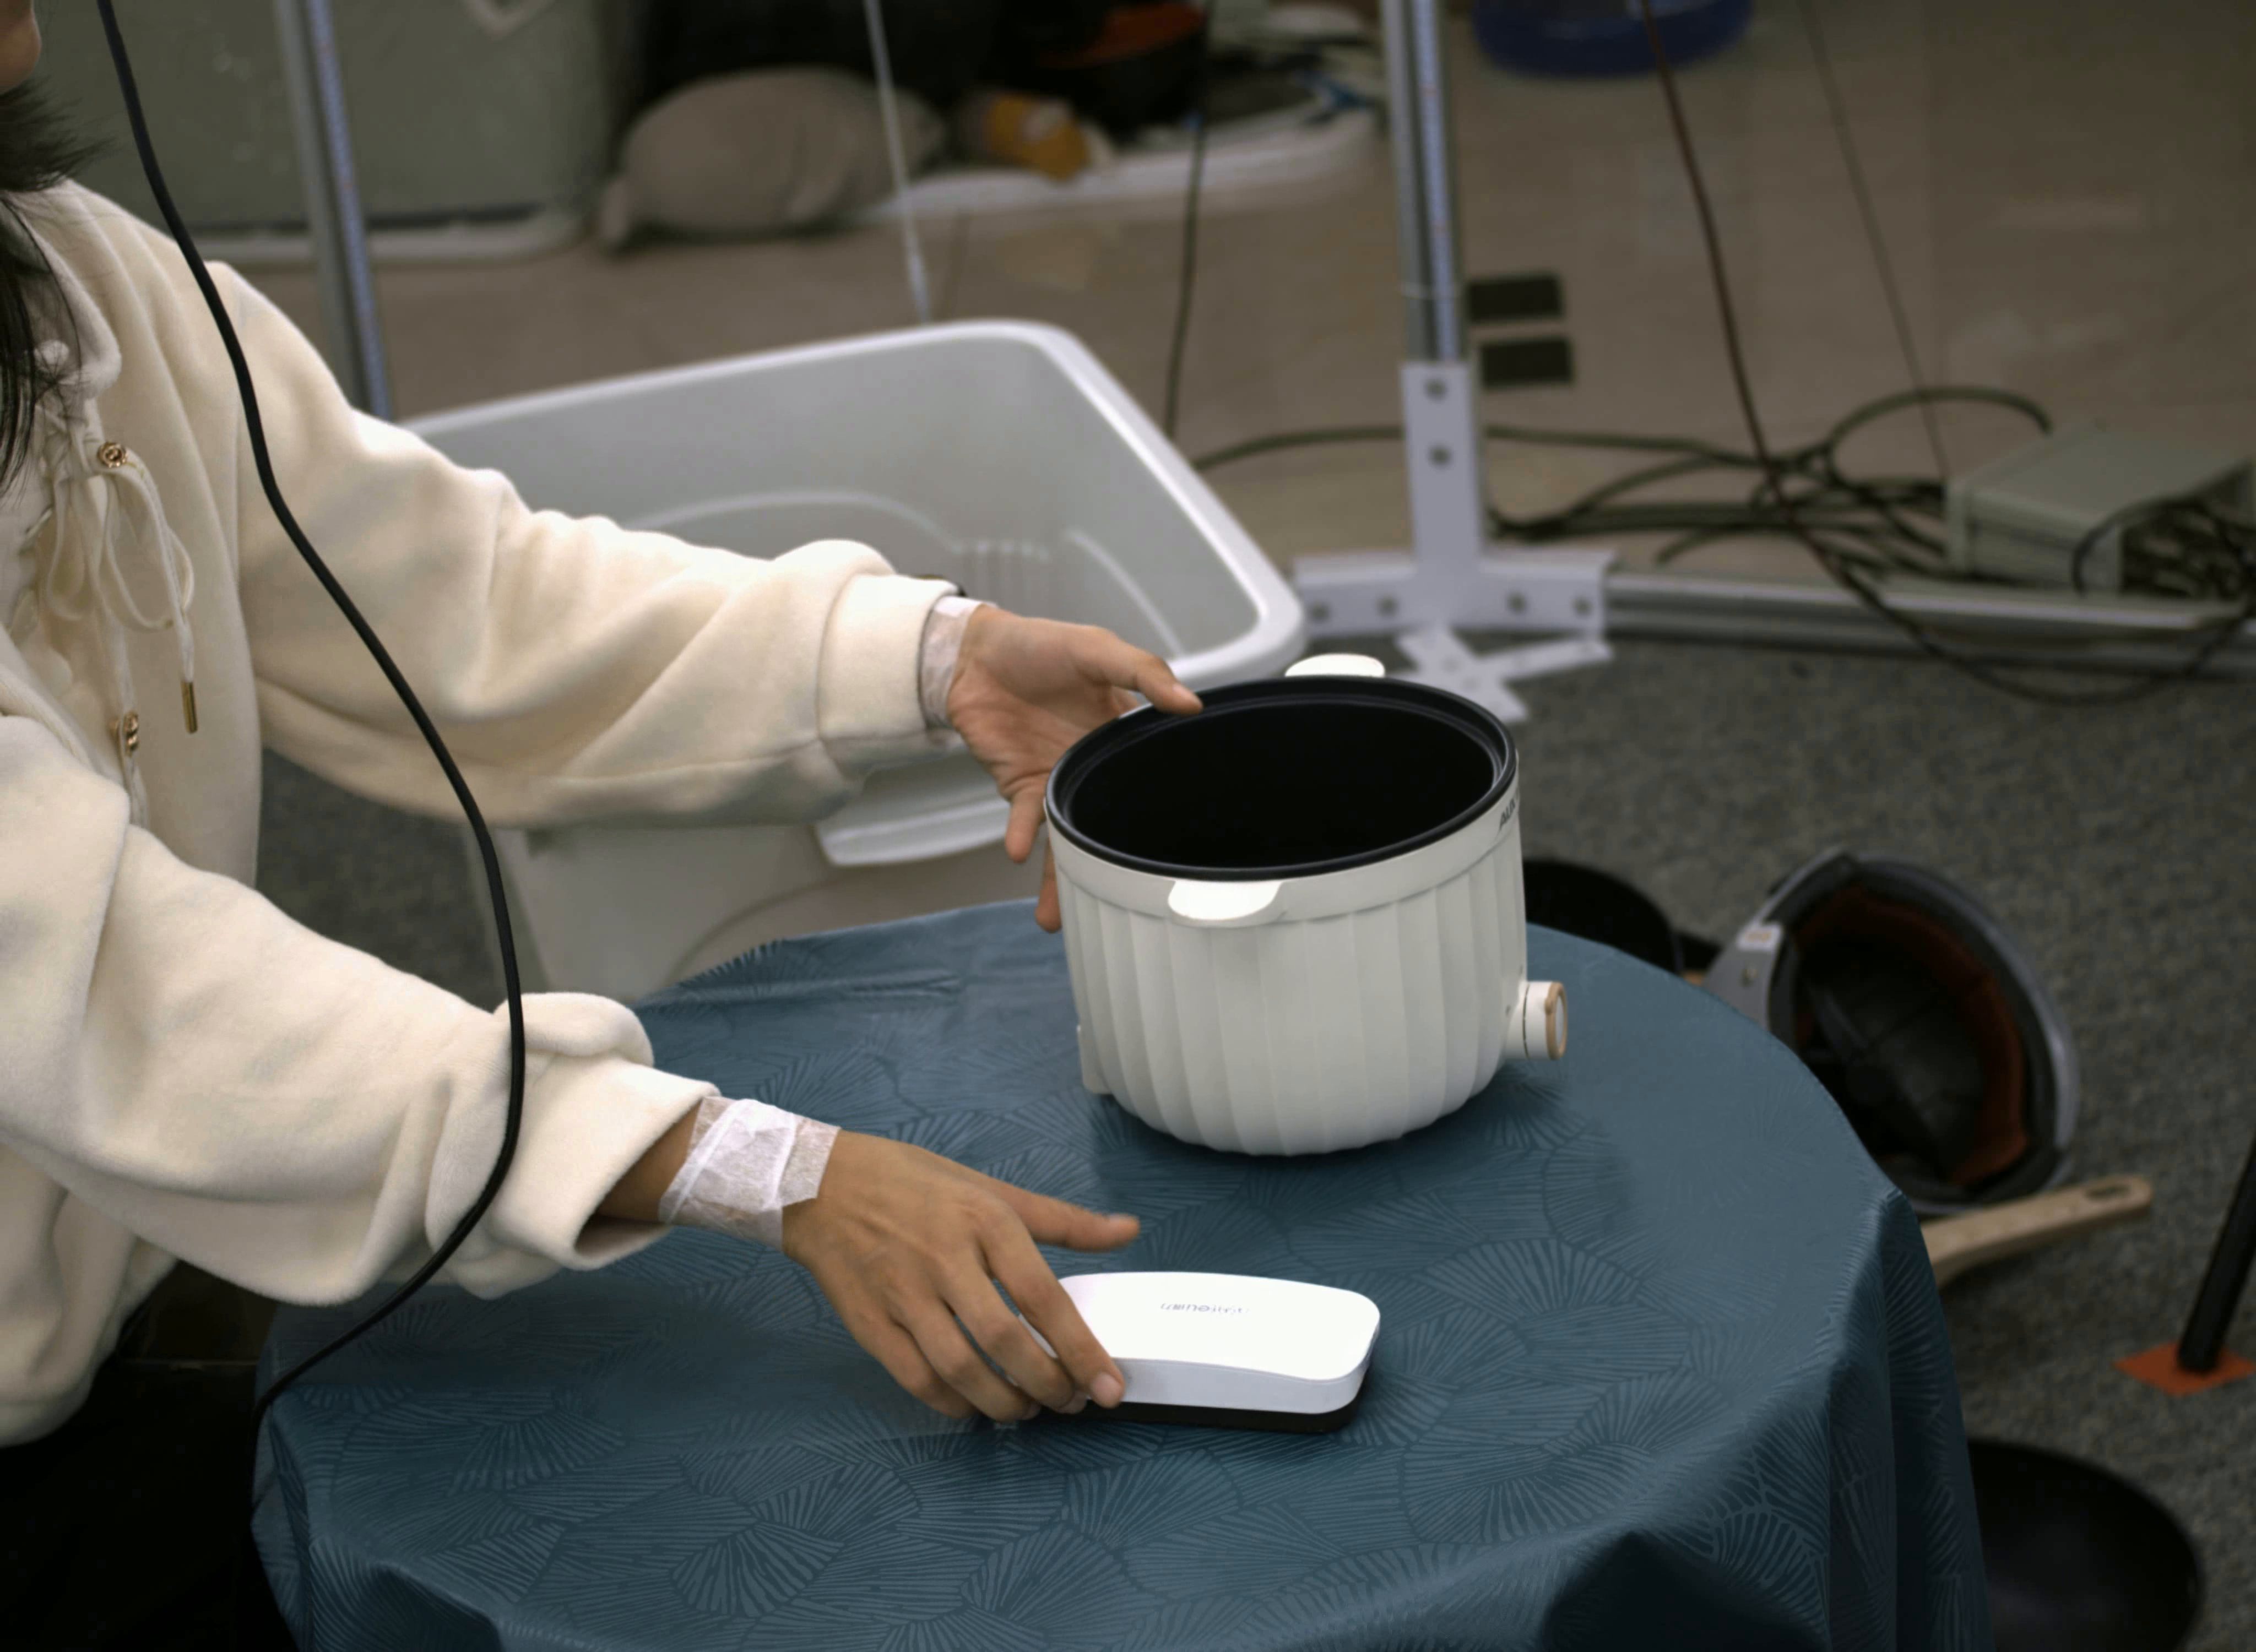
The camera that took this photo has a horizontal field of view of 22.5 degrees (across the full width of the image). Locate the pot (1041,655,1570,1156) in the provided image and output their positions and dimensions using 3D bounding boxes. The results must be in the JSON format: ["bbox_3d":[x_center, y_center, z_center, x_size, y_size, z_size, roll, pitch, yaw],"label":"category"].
[{"bbox_3d":[0.070,0.038,2.180,0.190,0.145,0.237,-3,26,16],"label":"pot"}]

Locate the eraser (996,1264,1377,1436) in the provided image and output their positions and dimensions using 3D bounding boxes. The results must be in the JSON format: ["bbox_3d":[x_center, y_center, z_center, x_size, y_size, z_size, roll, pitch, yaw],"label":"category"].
[{"bbox_3d":[0.021,0.186,2.007,0.131,0.035,0.062,2,25,18],"label":"eraser"}]
